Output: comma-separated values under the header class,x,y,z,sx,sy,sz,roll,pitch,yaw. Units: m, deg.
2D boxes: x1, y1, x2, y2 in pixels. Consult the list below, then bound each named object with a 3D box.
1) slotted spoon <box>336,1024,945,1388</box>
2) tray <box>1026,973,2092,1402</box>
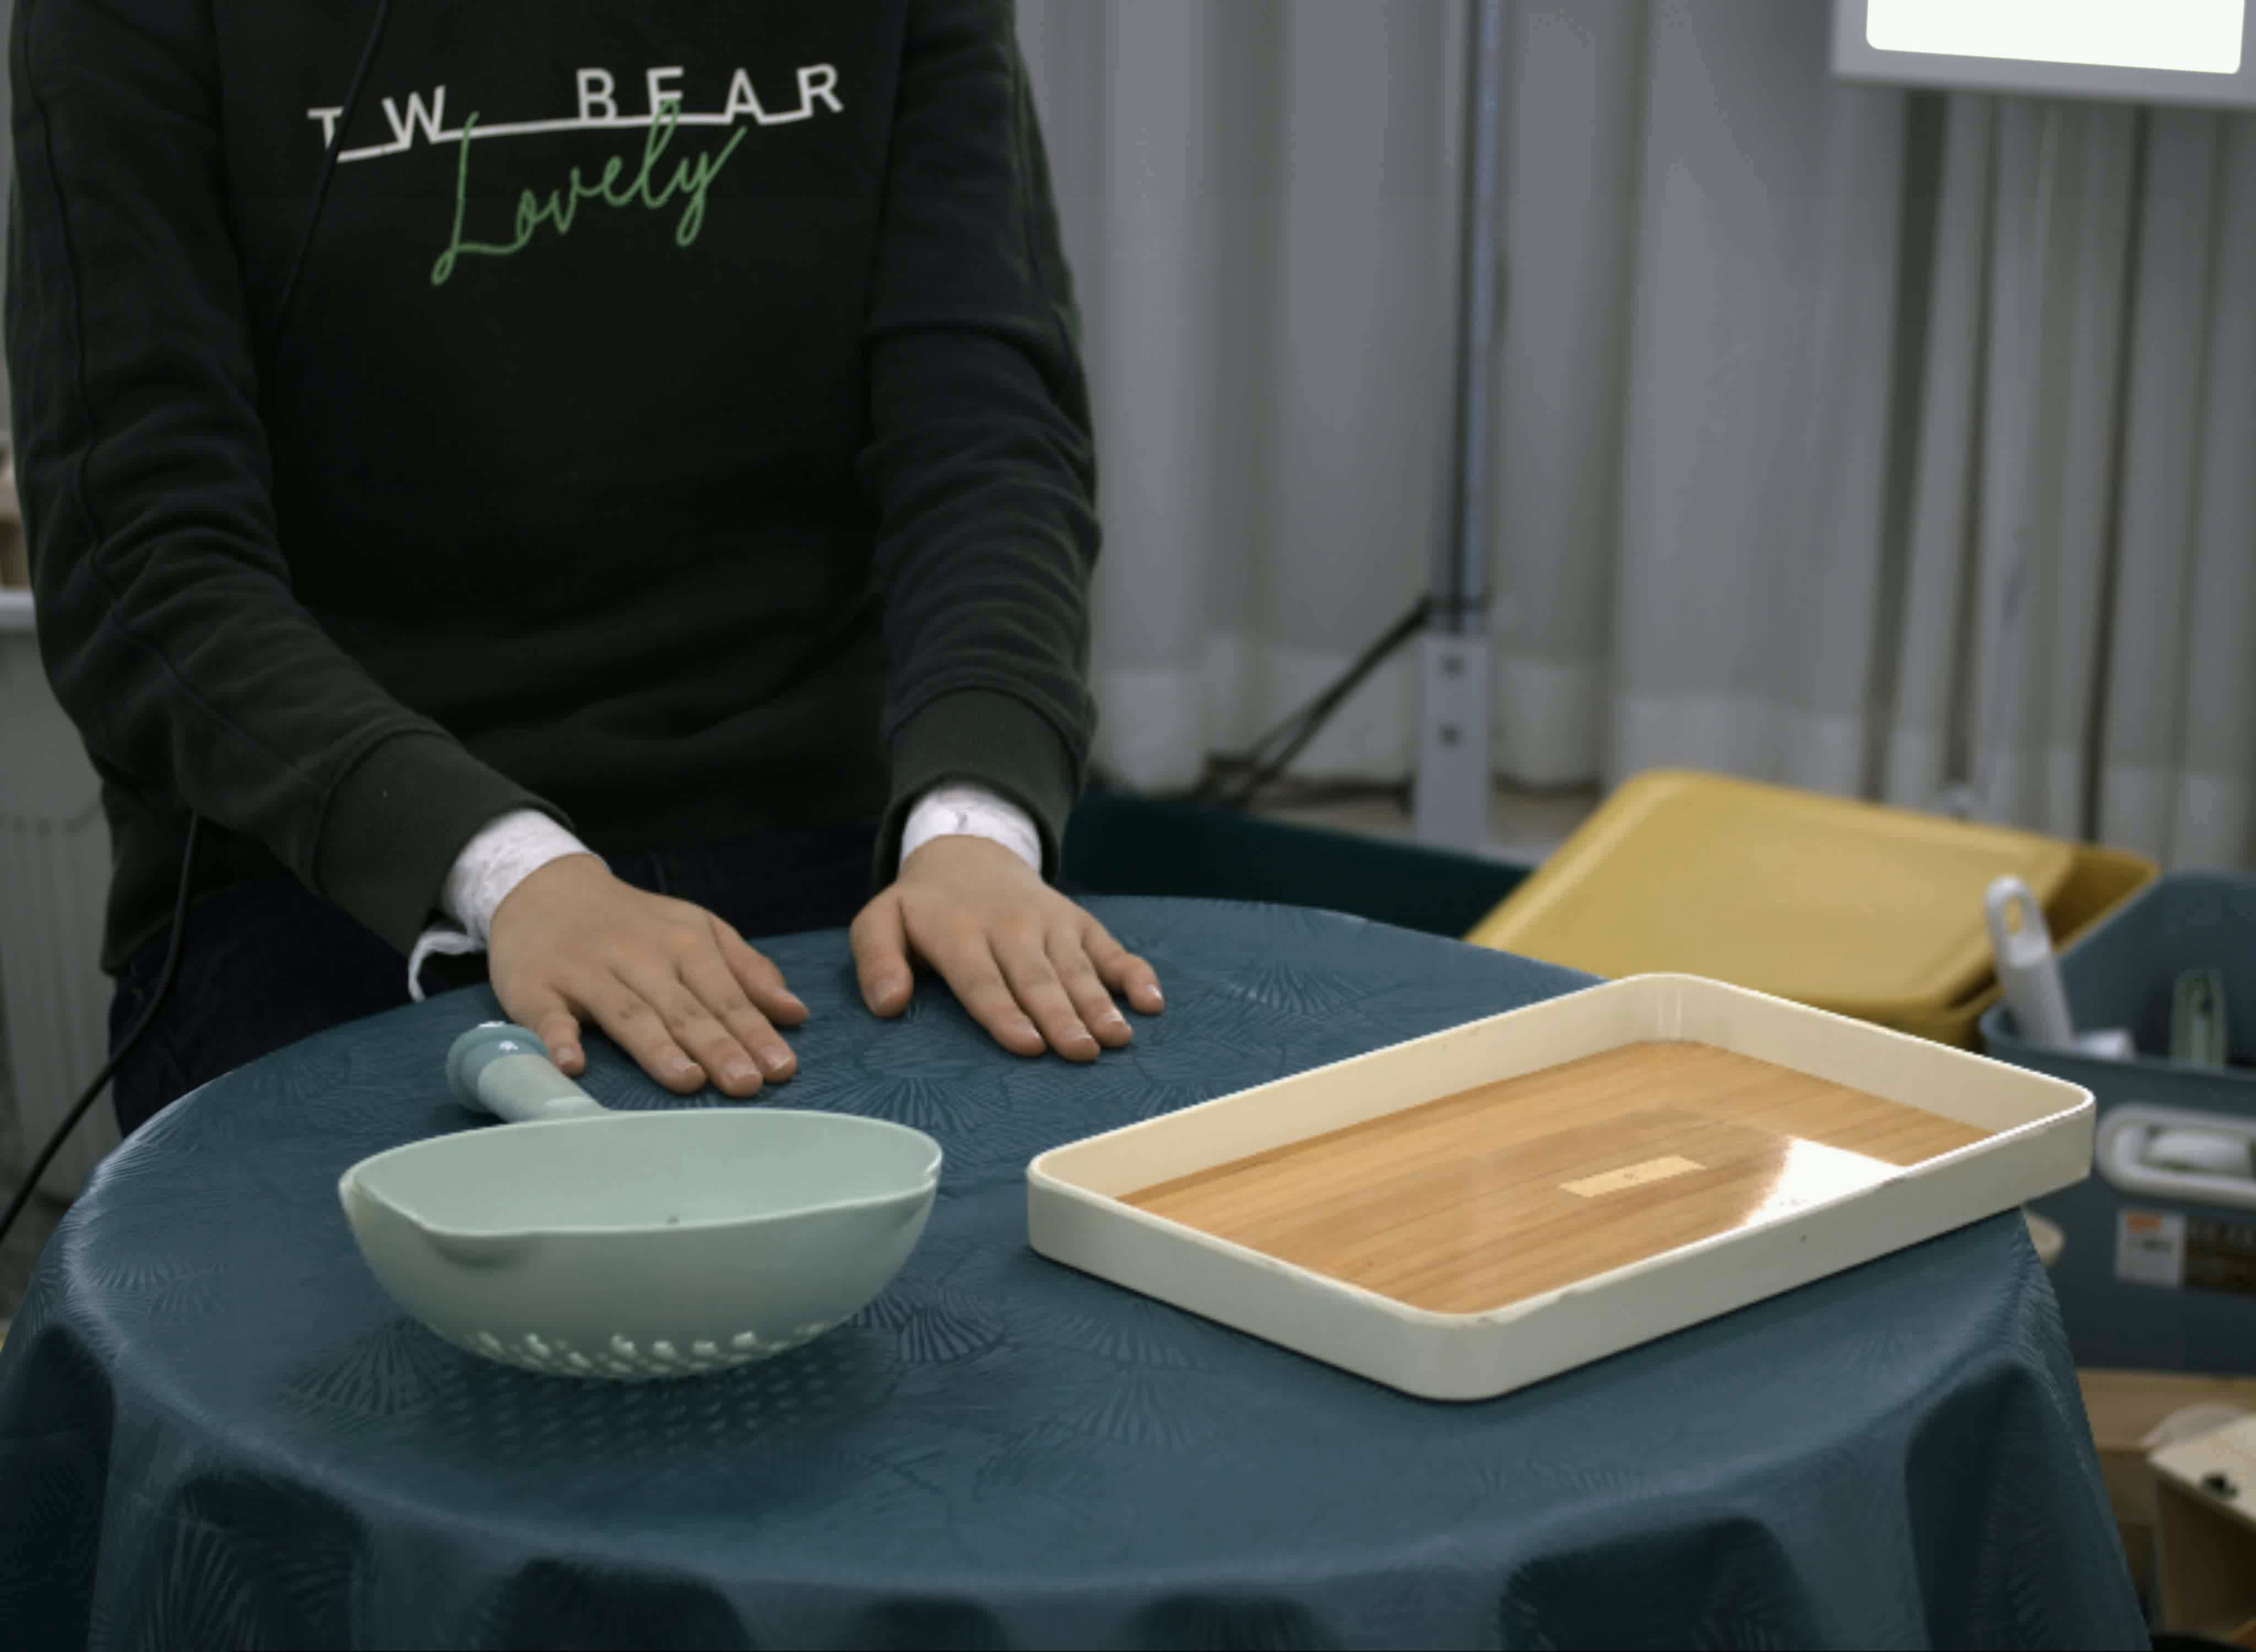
class,x,y,z,sx,sy,sz,roll,pitch,yaw
slotted spoon,-0.162,0.096,1.561,0.169,0.076,0.355,-4,16,-16
tray,0.134,0.105,1.610,0.302,0.027,0.189,-13,21,-42
